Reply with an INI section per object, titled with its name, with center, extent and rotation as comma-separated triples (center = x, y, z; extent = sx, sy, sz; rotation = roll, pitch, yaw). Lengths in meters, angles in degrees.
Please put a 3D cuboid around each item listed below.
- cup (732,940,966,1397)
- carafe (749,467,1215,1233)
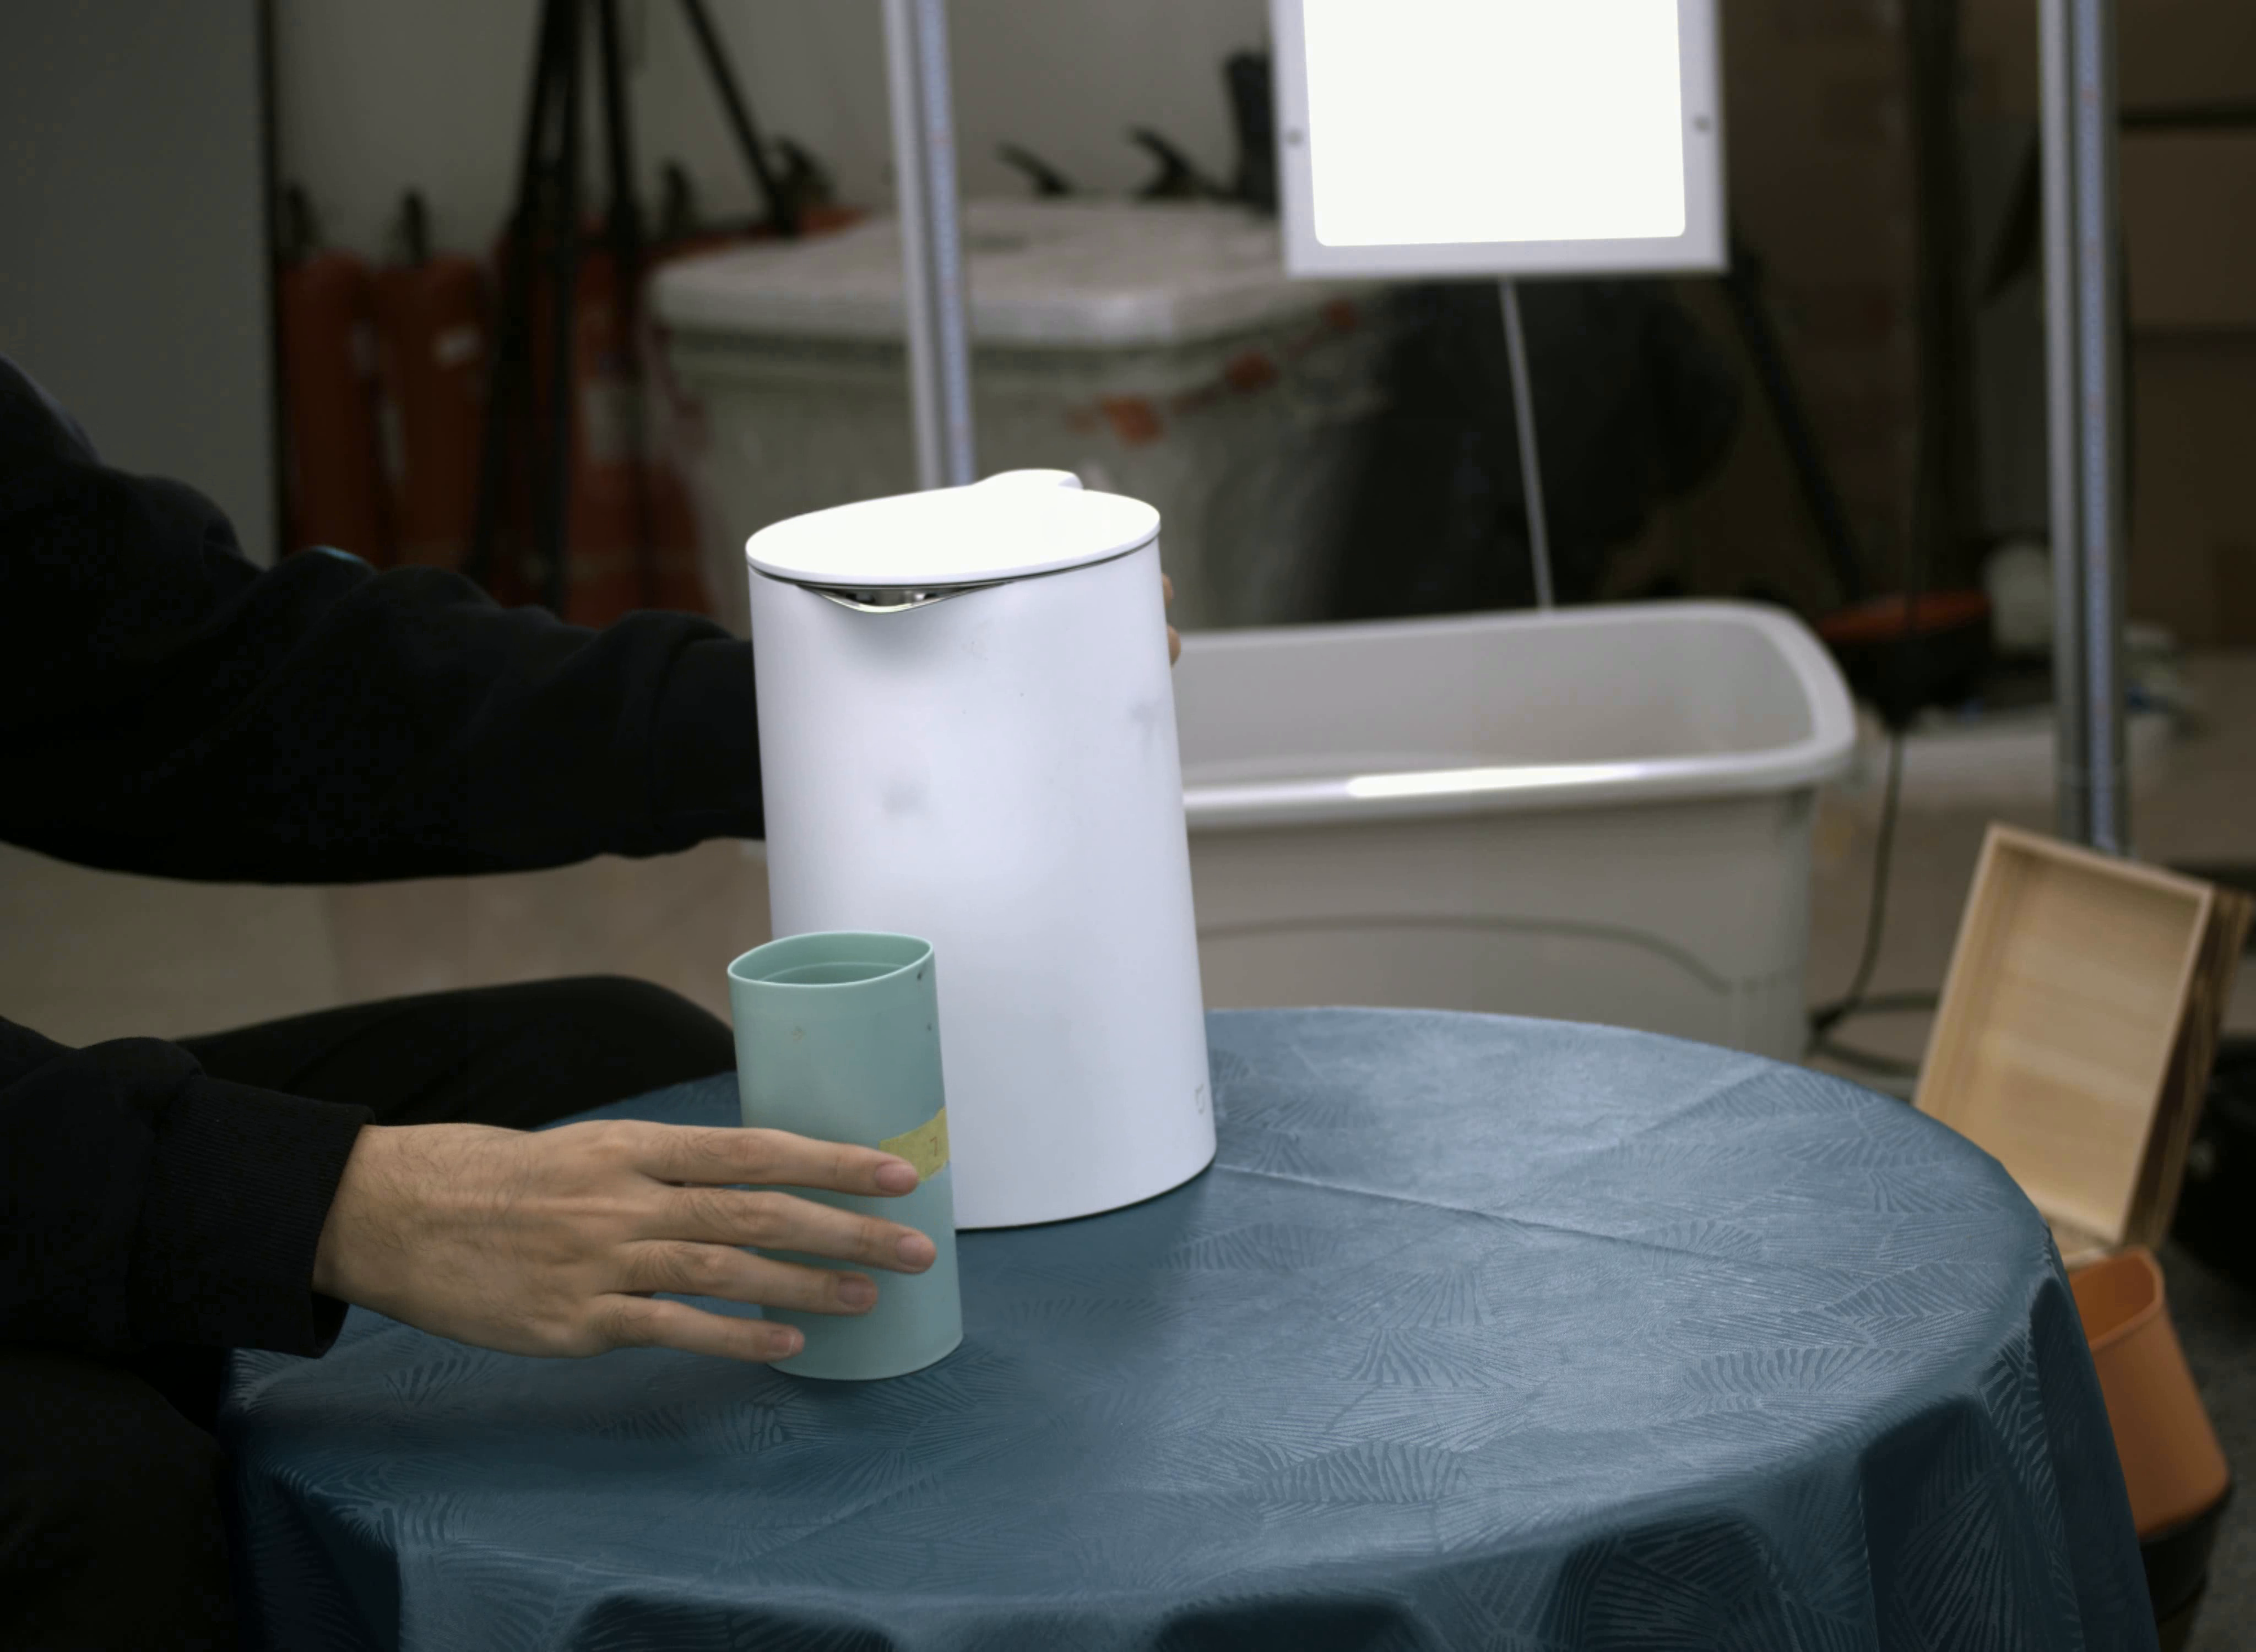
[cup]
center = -0.089, 0.107, 1.745
extent = 0.066, 0.133, 0.066
rotation = -4, 15, 0
[carafe]
center = -0.044, 0.002, 1.932
extent = 0.154, 0.241, 0.210
rotation = 1, 15, 17
